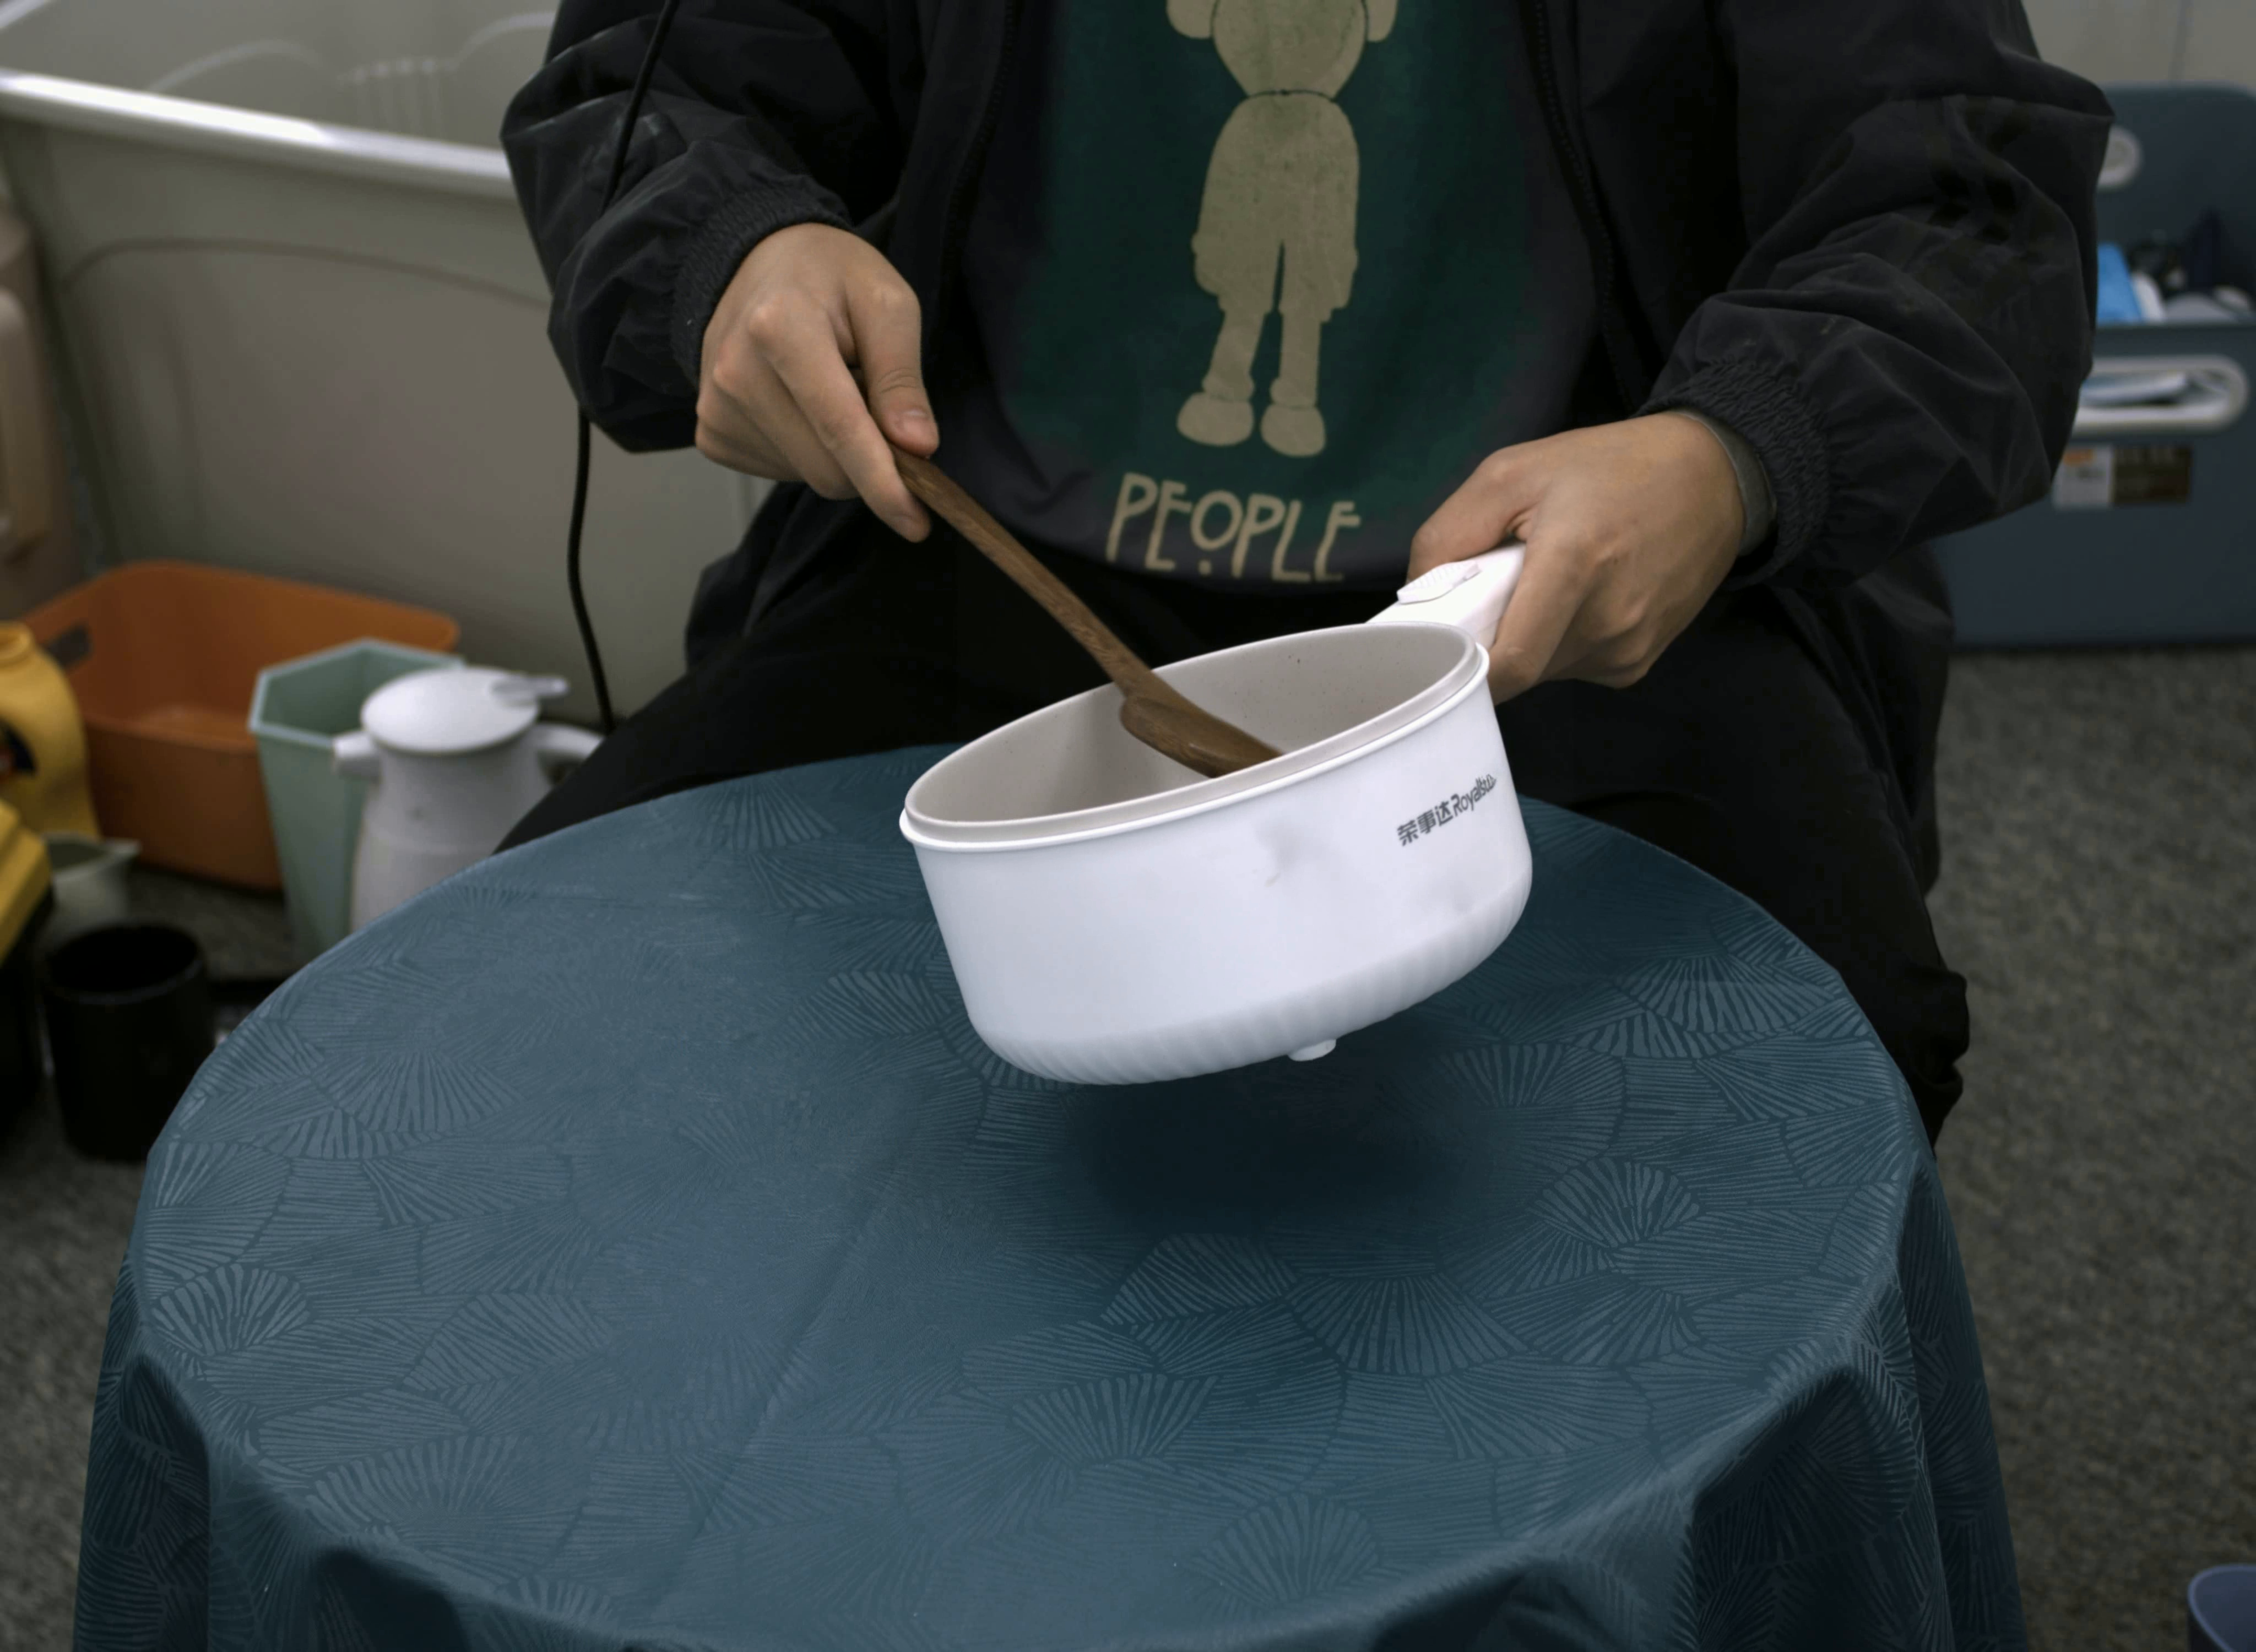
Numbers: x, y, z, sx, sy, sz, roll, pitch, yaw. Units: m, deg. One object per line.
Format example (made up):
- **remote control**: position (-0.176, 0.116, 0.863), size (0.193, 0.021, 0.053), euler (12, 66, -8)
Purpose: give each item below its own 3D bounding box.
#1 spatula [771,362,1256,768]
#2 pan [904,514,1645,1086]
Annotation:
- **spatula**: position (-0.033, -0.085, 1.965), size (0.096, 0.016, 0.388), euler (21, 14, -39)
- **pan**: position (0.077, -0.011, 1.908), size (0.199, 0.102, 0.359), euler (-8, 13, 37)
